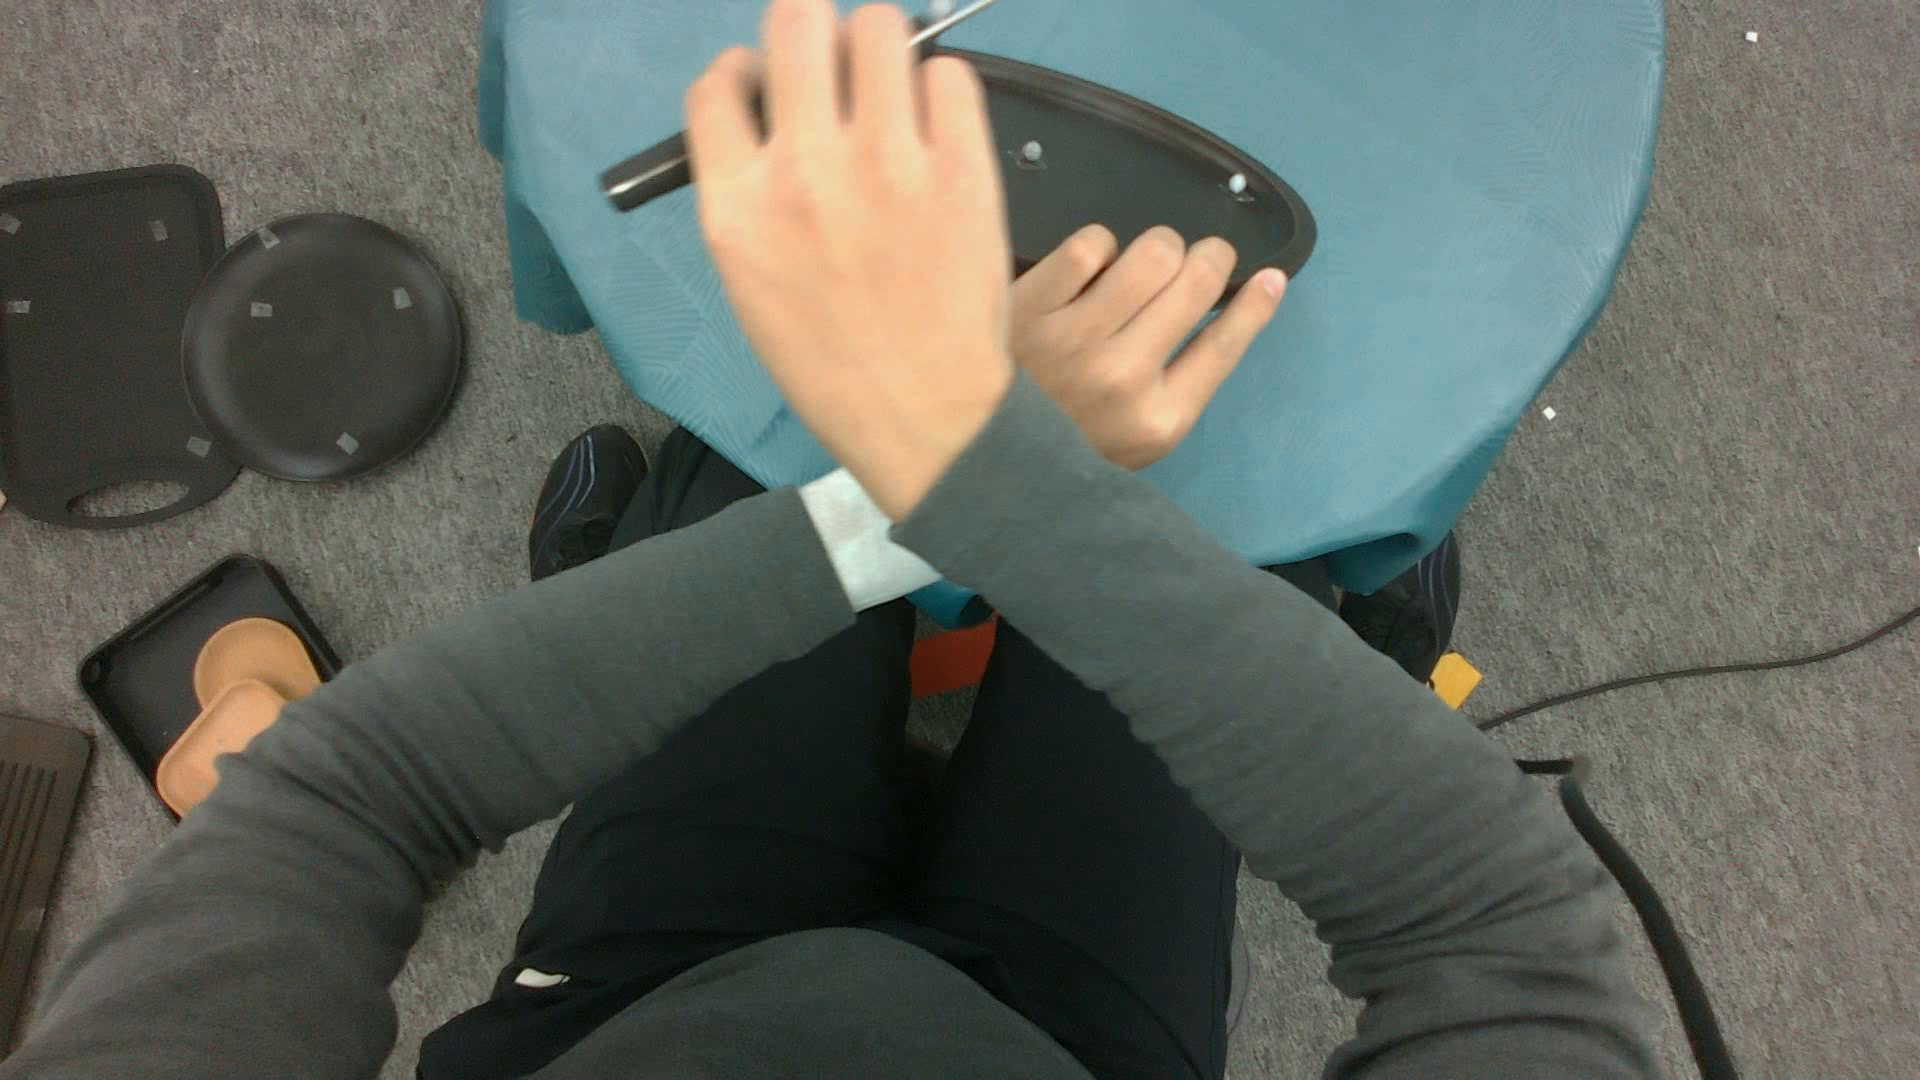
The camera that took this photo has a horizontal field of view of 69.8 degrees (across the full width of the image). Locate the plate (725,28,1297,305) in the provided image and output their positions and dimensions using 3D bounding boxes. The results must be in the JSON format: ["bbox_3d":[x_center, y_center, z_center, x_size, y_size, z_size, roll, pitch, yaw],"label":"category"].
[{"bbox_3d":[0.024,-0.168,0.601,0.255,0.256,0.029,15,123,0],"label":"plate"}]

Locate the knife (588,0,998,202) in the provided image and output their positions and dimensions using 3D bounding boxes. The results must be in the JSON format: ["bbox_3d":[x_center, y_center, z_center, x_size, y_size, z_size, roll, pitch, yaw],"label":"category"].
[{"bbox_3d":[-0.012,-0.167,0.451,0.239,0.024,0.016,-31,112,-16],"label":"knife"}]
